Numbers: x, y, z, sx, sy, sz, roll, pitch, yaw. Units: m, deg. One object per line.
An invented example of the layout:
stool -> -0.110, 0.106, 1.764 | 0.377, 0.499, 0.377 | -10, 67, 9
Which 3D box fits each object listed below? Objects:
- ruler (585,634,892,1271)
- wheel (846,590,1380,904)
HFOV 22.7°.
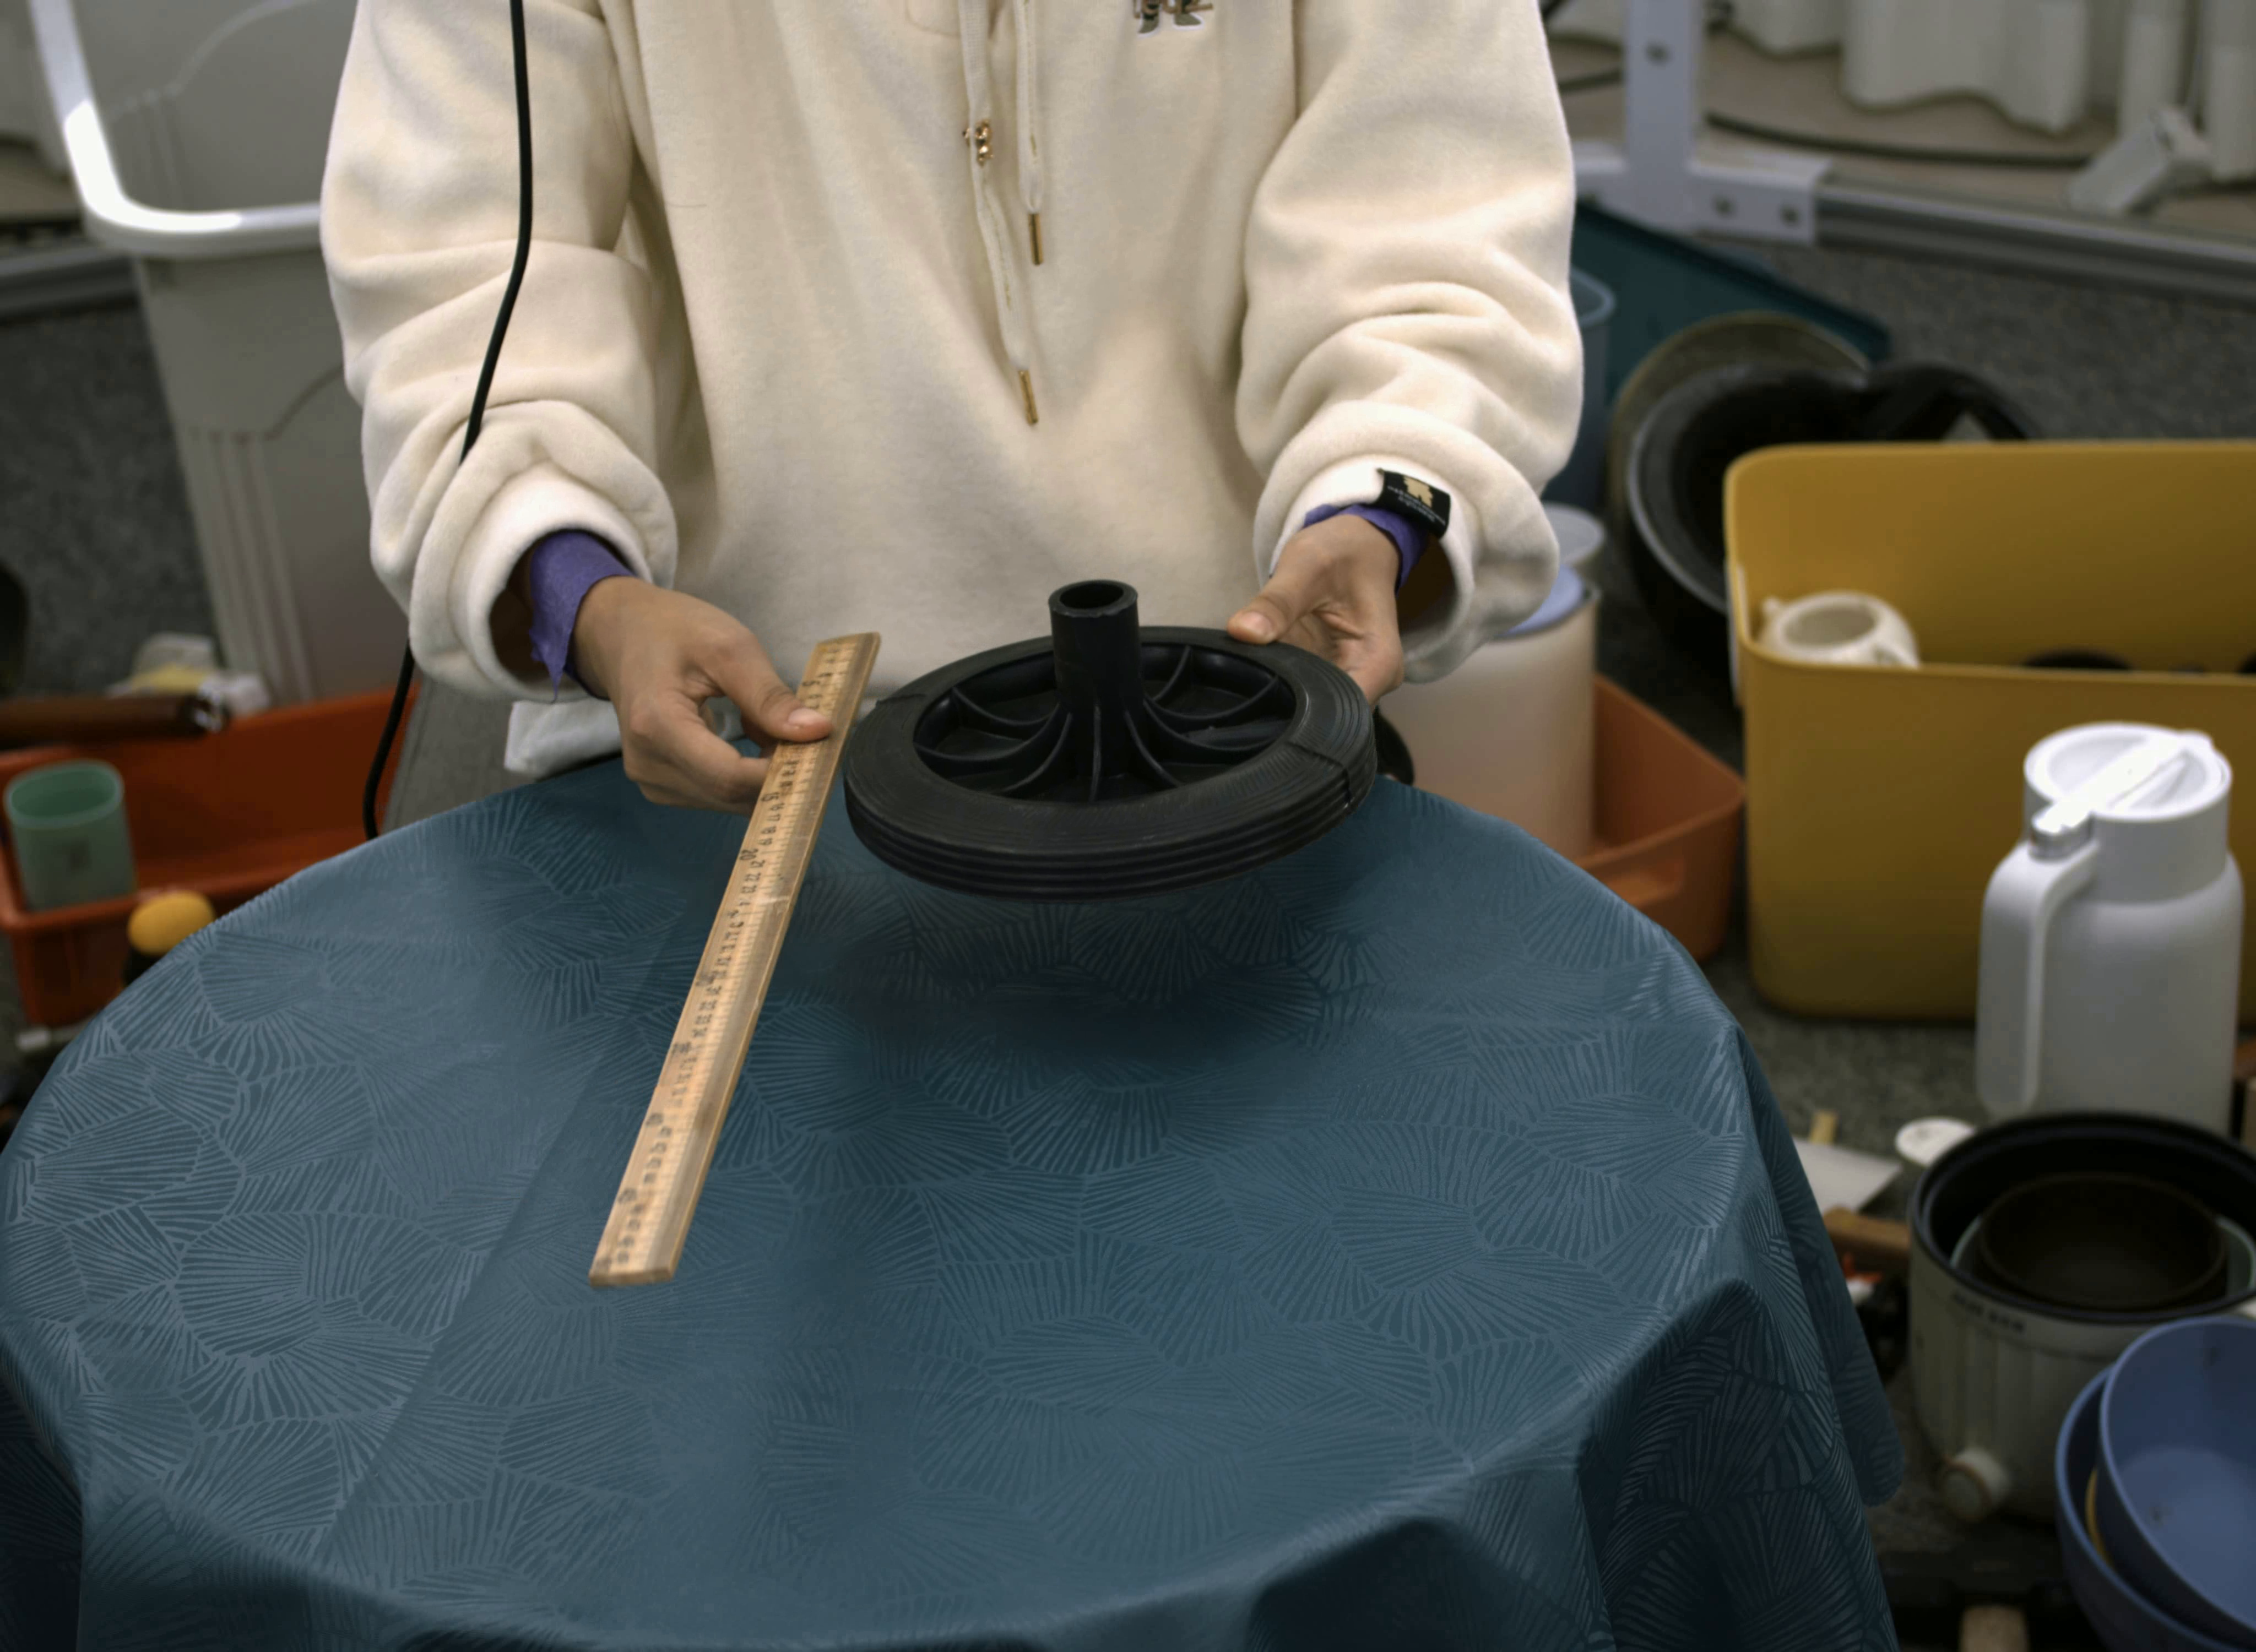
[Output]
ruler -> -0.123, 0.029, 1.859 | 0.026, 0.006, 0.507 | -7, 22, 8
wheel -> -0.007, -0.041, 1.968 | 0.191, 0.078, 0.188 | -16, 27, -22
